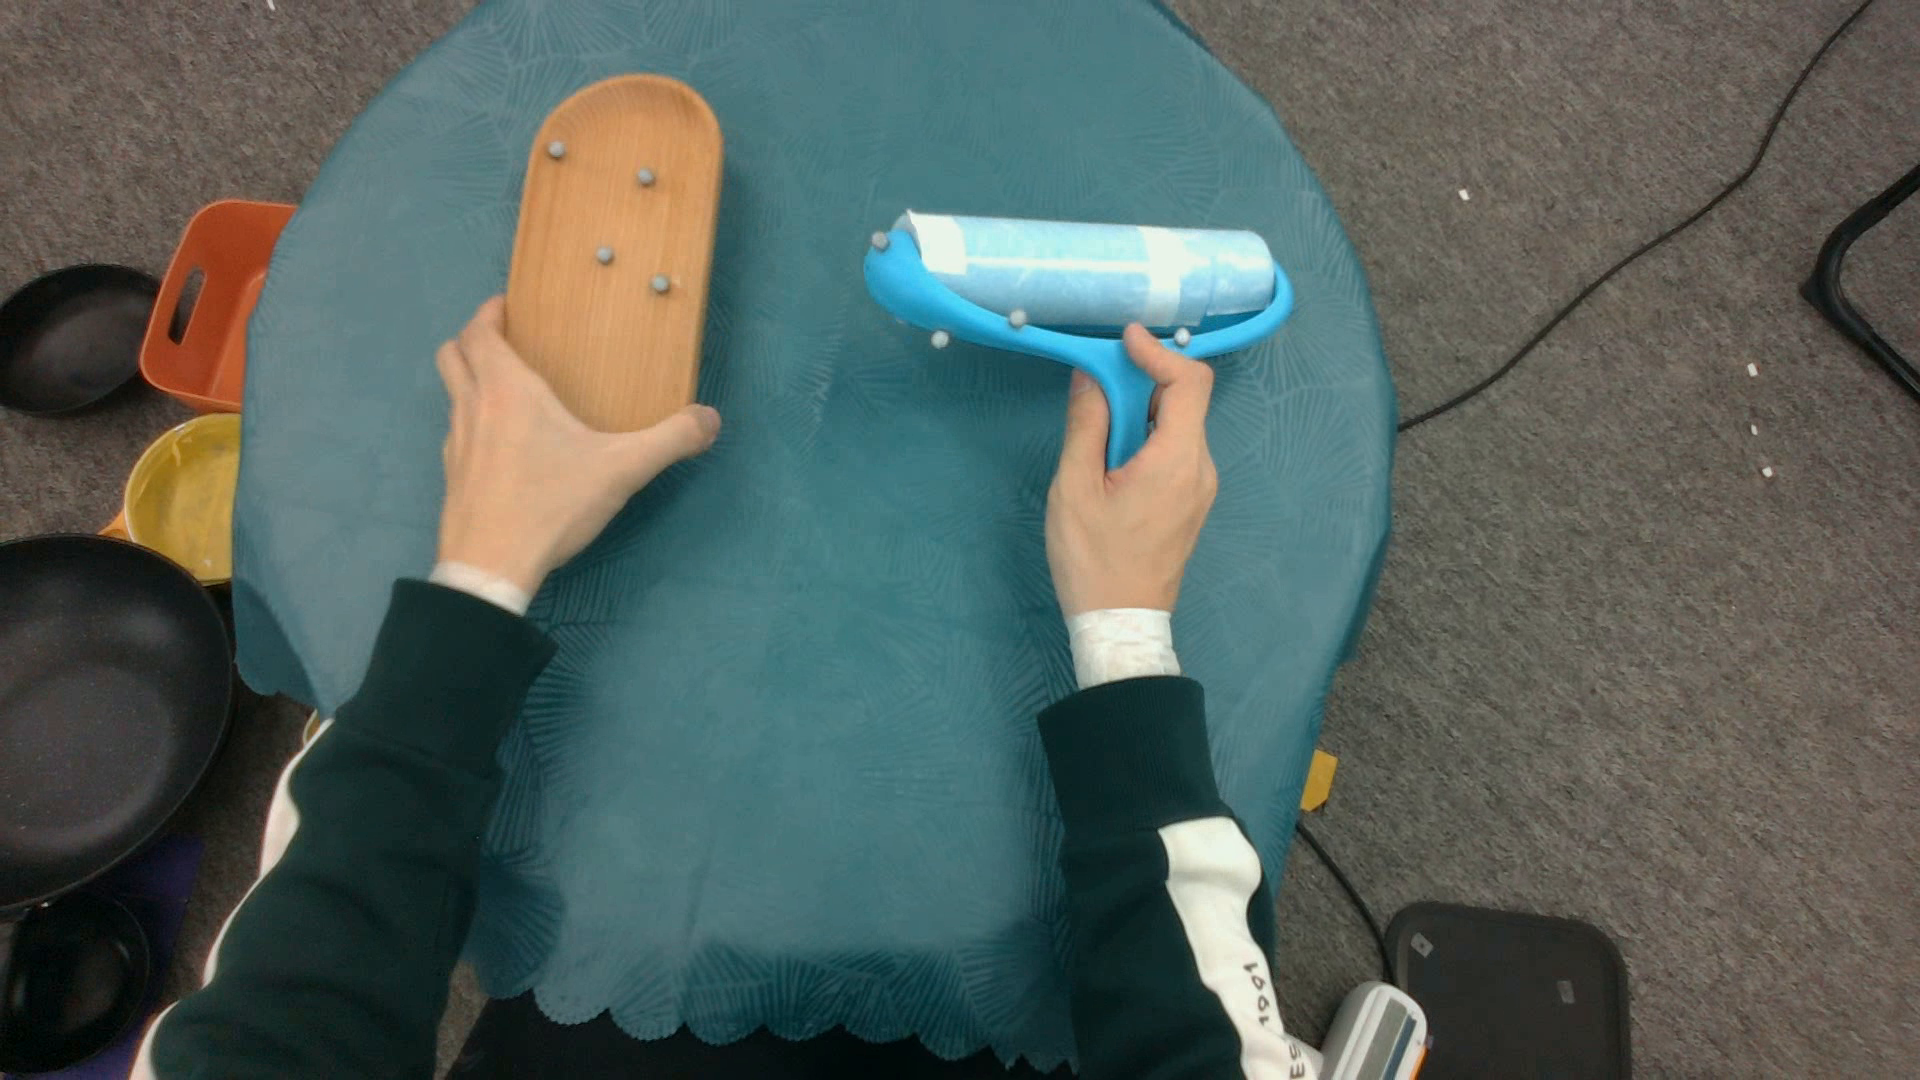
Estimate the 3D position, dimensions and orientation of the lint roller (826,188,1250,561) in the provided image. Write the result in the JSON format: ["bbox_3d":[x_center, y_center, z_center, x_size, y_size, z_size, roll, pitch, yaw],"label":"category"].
[{"bbox_3d":[0.055,-0.084,0.664,0.229,0.067,0.180,-8,80,-31],"label":"lint roller"}]

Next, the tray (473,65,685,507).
[{"bbox_3d":[-0.183,-0.126,0.669,0.101,0.020,0.231,-6,74,17],"label":"tray"}]
